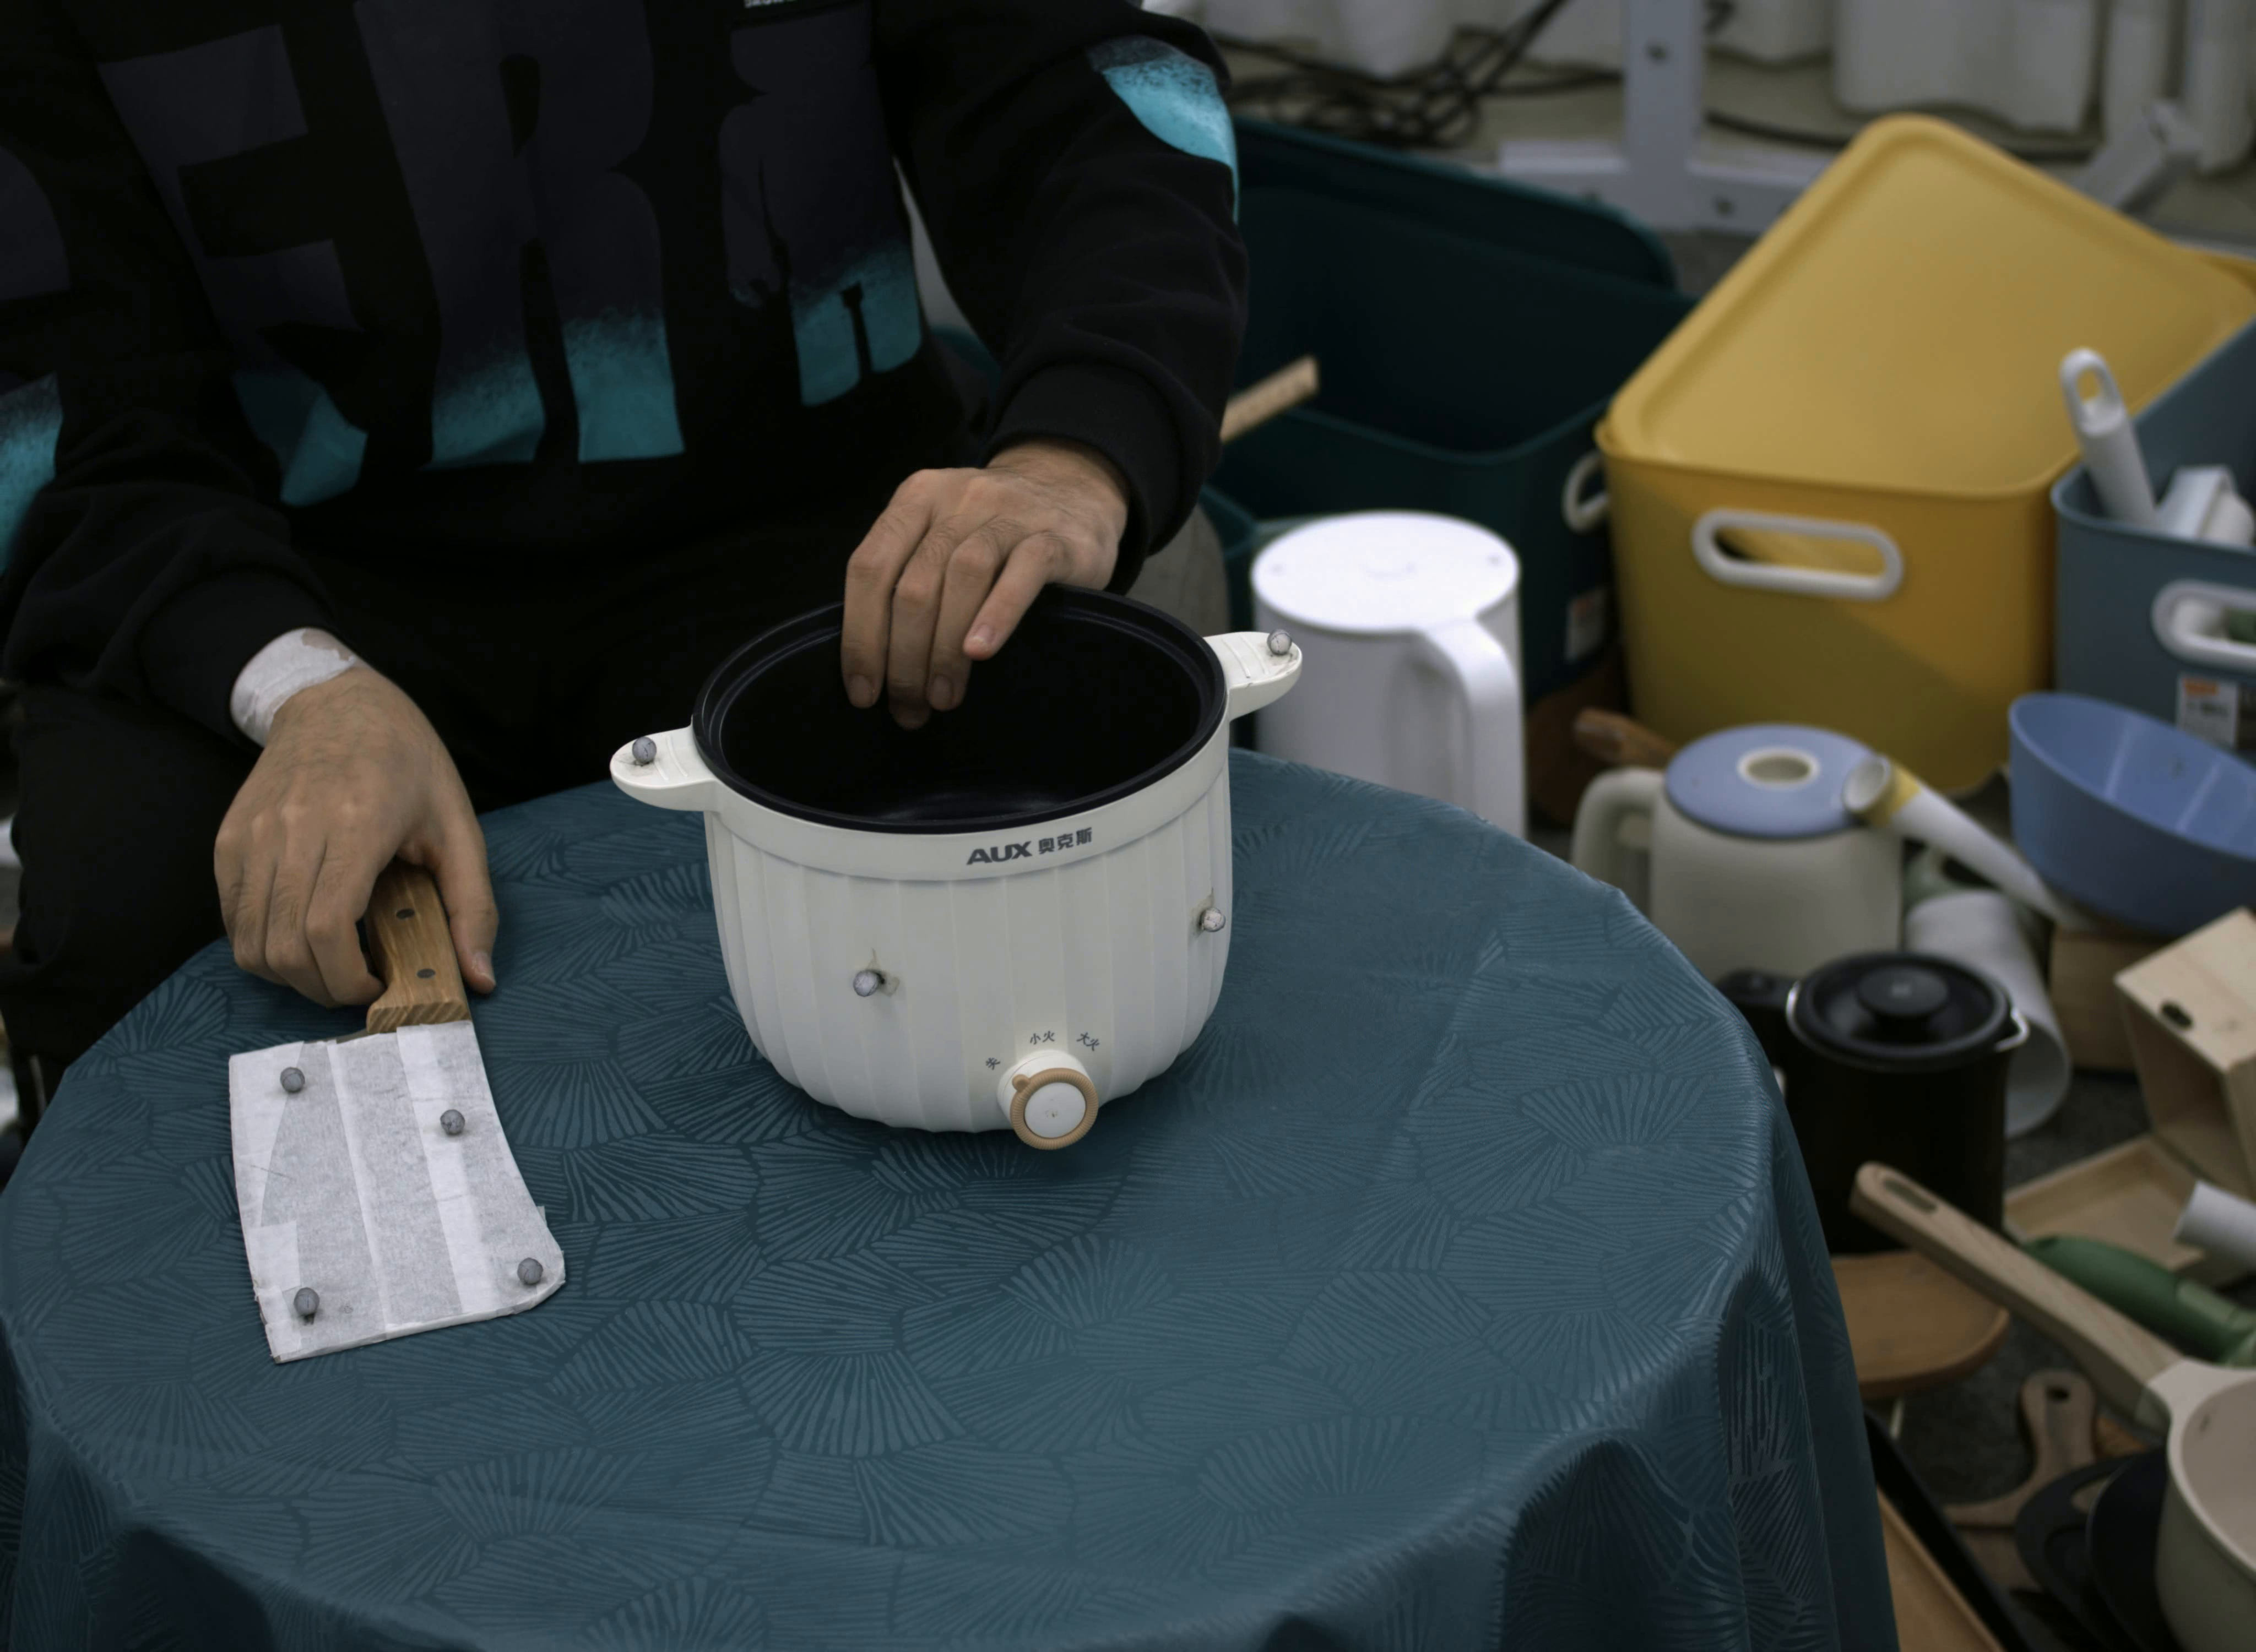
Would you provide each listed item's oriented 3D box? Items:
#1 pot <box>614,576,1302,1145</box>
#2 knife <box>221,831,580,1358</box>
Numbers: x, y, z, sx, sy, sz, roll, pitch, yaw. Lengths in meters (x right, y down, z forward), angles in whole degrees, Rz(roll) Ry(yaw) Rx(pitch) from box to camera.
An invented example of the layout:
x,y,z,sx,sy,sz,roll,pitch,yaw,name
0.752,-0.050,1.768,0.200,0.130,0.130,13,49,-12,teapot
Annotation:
x,y,z,sx,sy,sz,roll,pitch,yaw,name
-0.050,0.016,1.920,0.240,0.141,0.192,-11,25,-13,pot
-0.255,0.088,1.932,0.114,0.021,0.319,-7,30,-7,knife
